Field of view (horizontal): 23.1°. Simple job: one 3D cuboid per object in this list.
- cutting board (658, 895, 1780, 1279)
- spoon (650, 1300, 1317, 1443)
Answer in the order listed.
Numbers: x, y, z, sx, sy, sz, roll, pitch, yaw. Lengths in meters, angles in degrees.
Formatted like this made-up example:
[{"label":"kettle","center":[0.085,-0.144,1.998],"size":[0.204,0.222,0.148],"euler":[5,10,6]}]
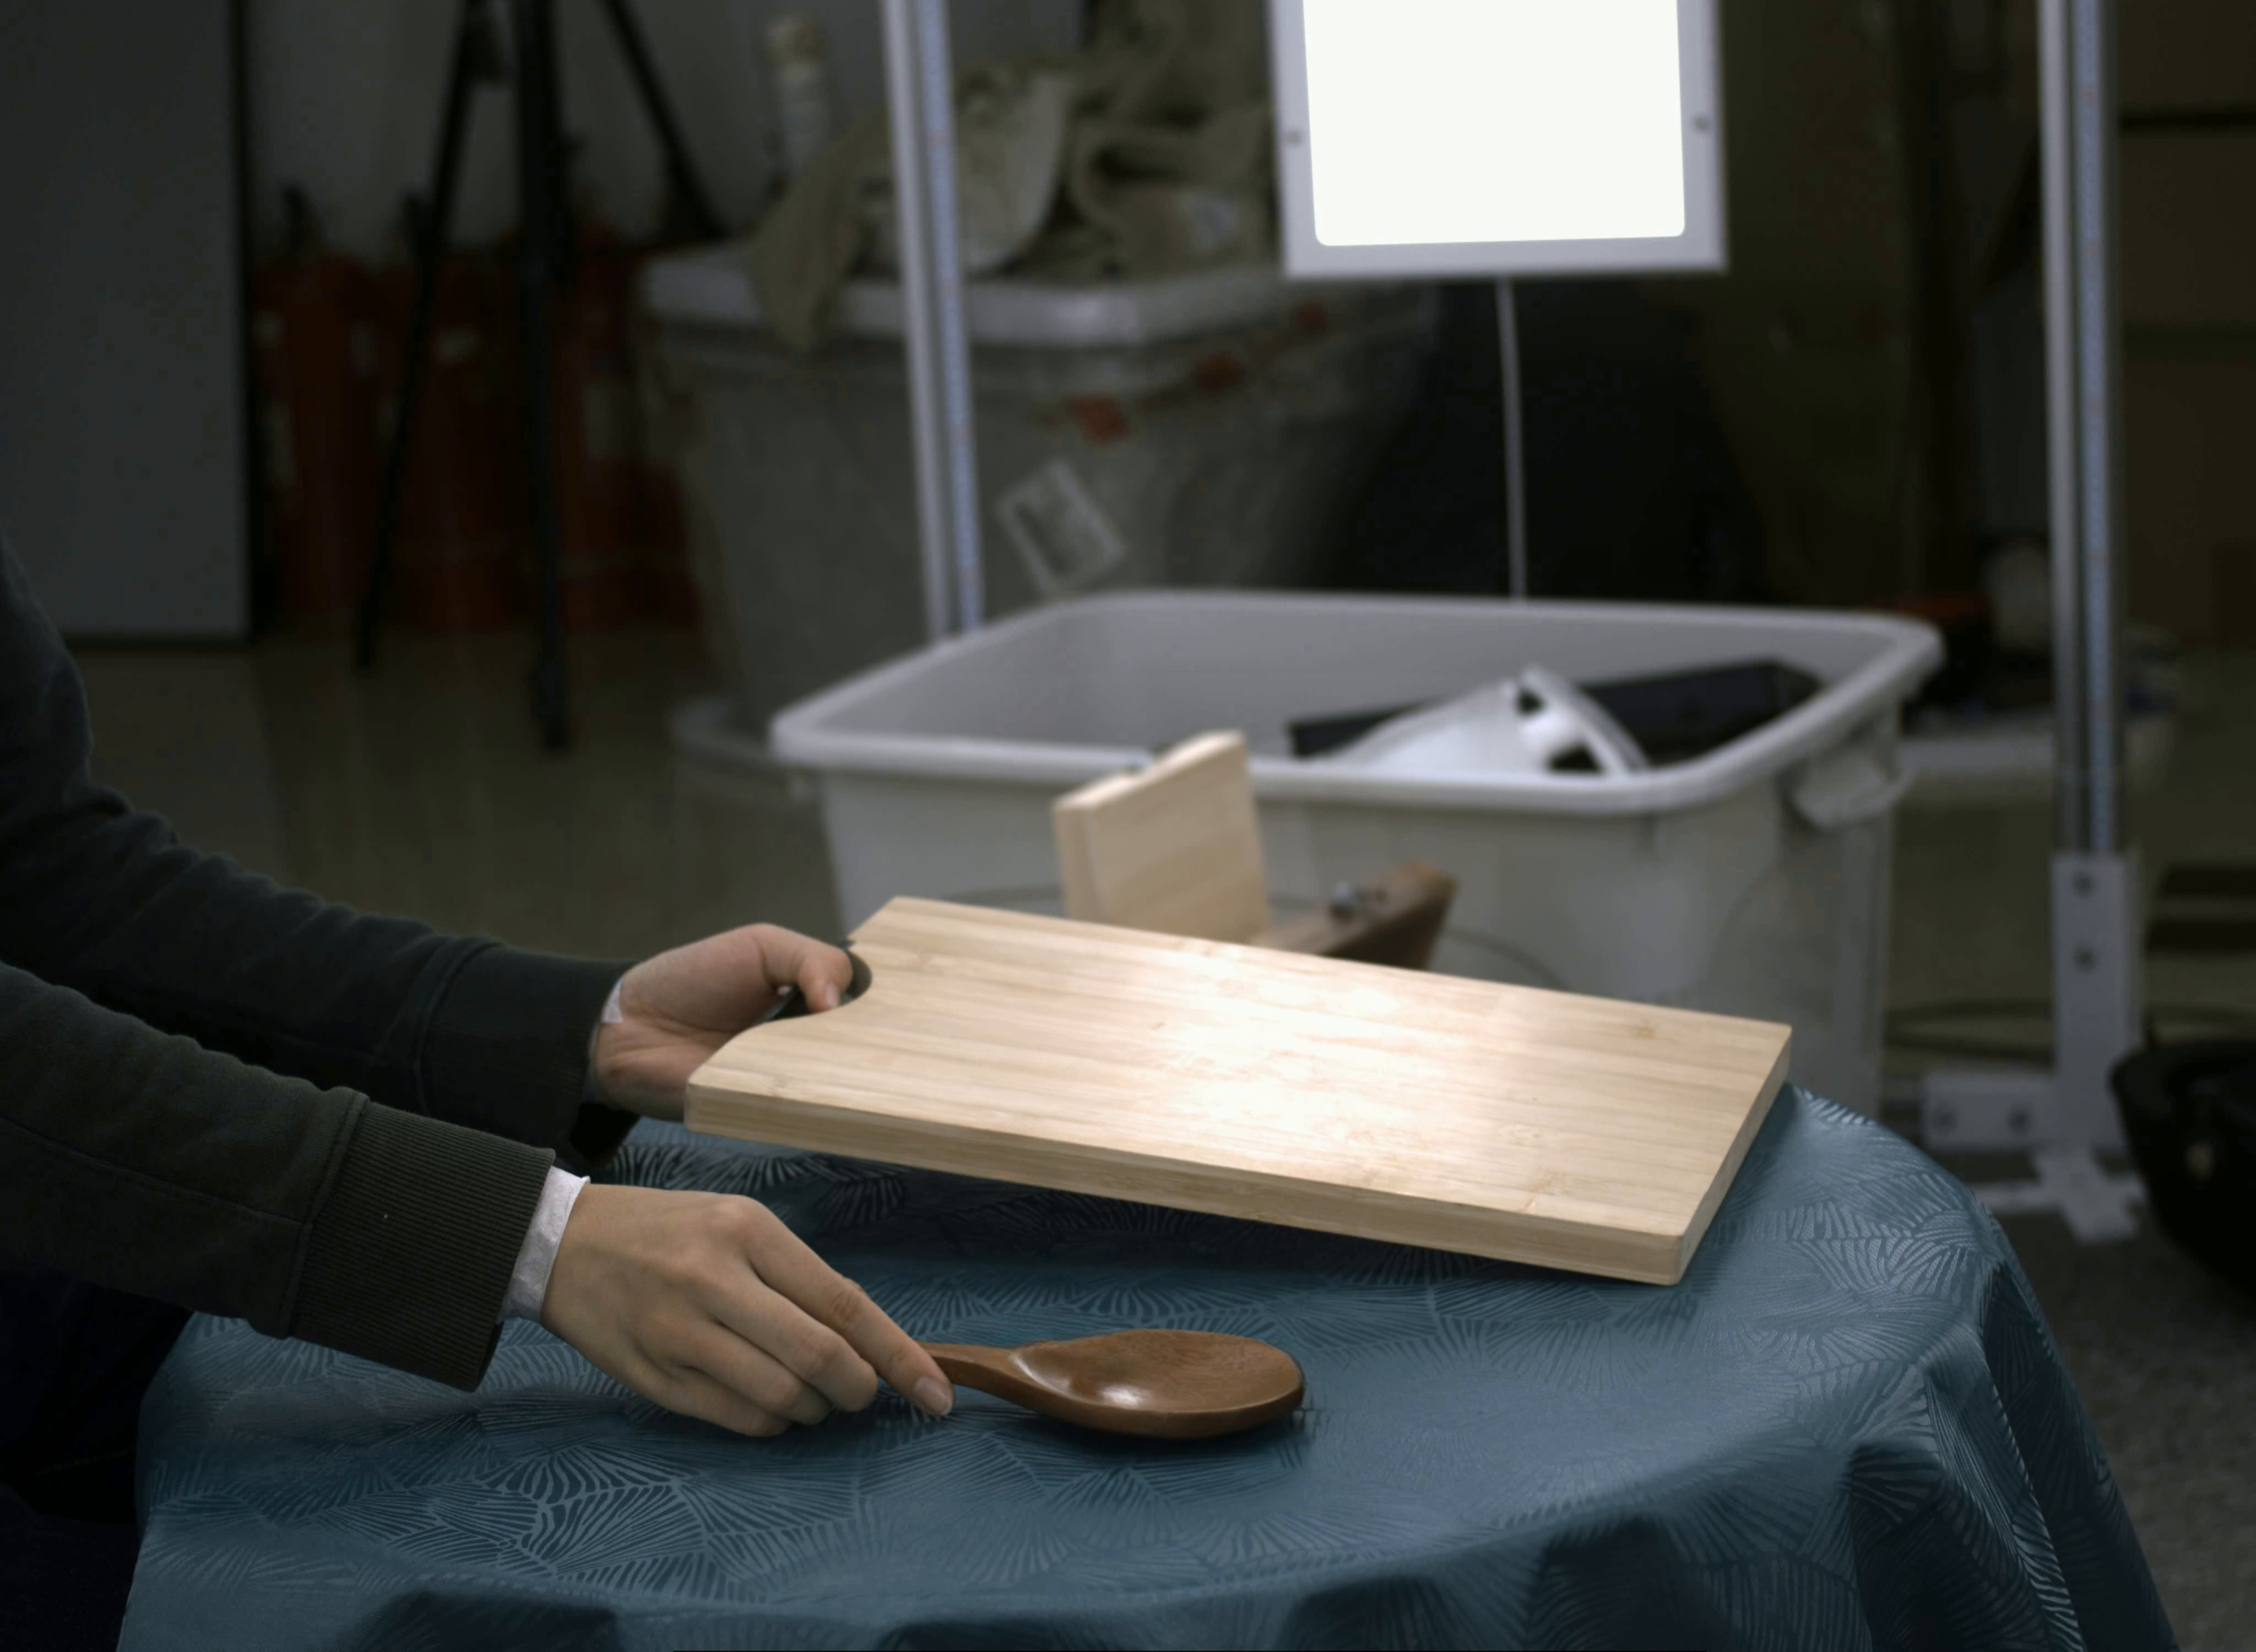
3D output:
[{"label":"cutting board","center":[0.039,0.086,1.908],"size":[0.352,0.024,0.247],"euler":[8,16,14]},{"label":"spoon","center":[-0.046,0.166,1.695],"size":[0.218,0.017,0.074],"euler":[5,18,20]}]
